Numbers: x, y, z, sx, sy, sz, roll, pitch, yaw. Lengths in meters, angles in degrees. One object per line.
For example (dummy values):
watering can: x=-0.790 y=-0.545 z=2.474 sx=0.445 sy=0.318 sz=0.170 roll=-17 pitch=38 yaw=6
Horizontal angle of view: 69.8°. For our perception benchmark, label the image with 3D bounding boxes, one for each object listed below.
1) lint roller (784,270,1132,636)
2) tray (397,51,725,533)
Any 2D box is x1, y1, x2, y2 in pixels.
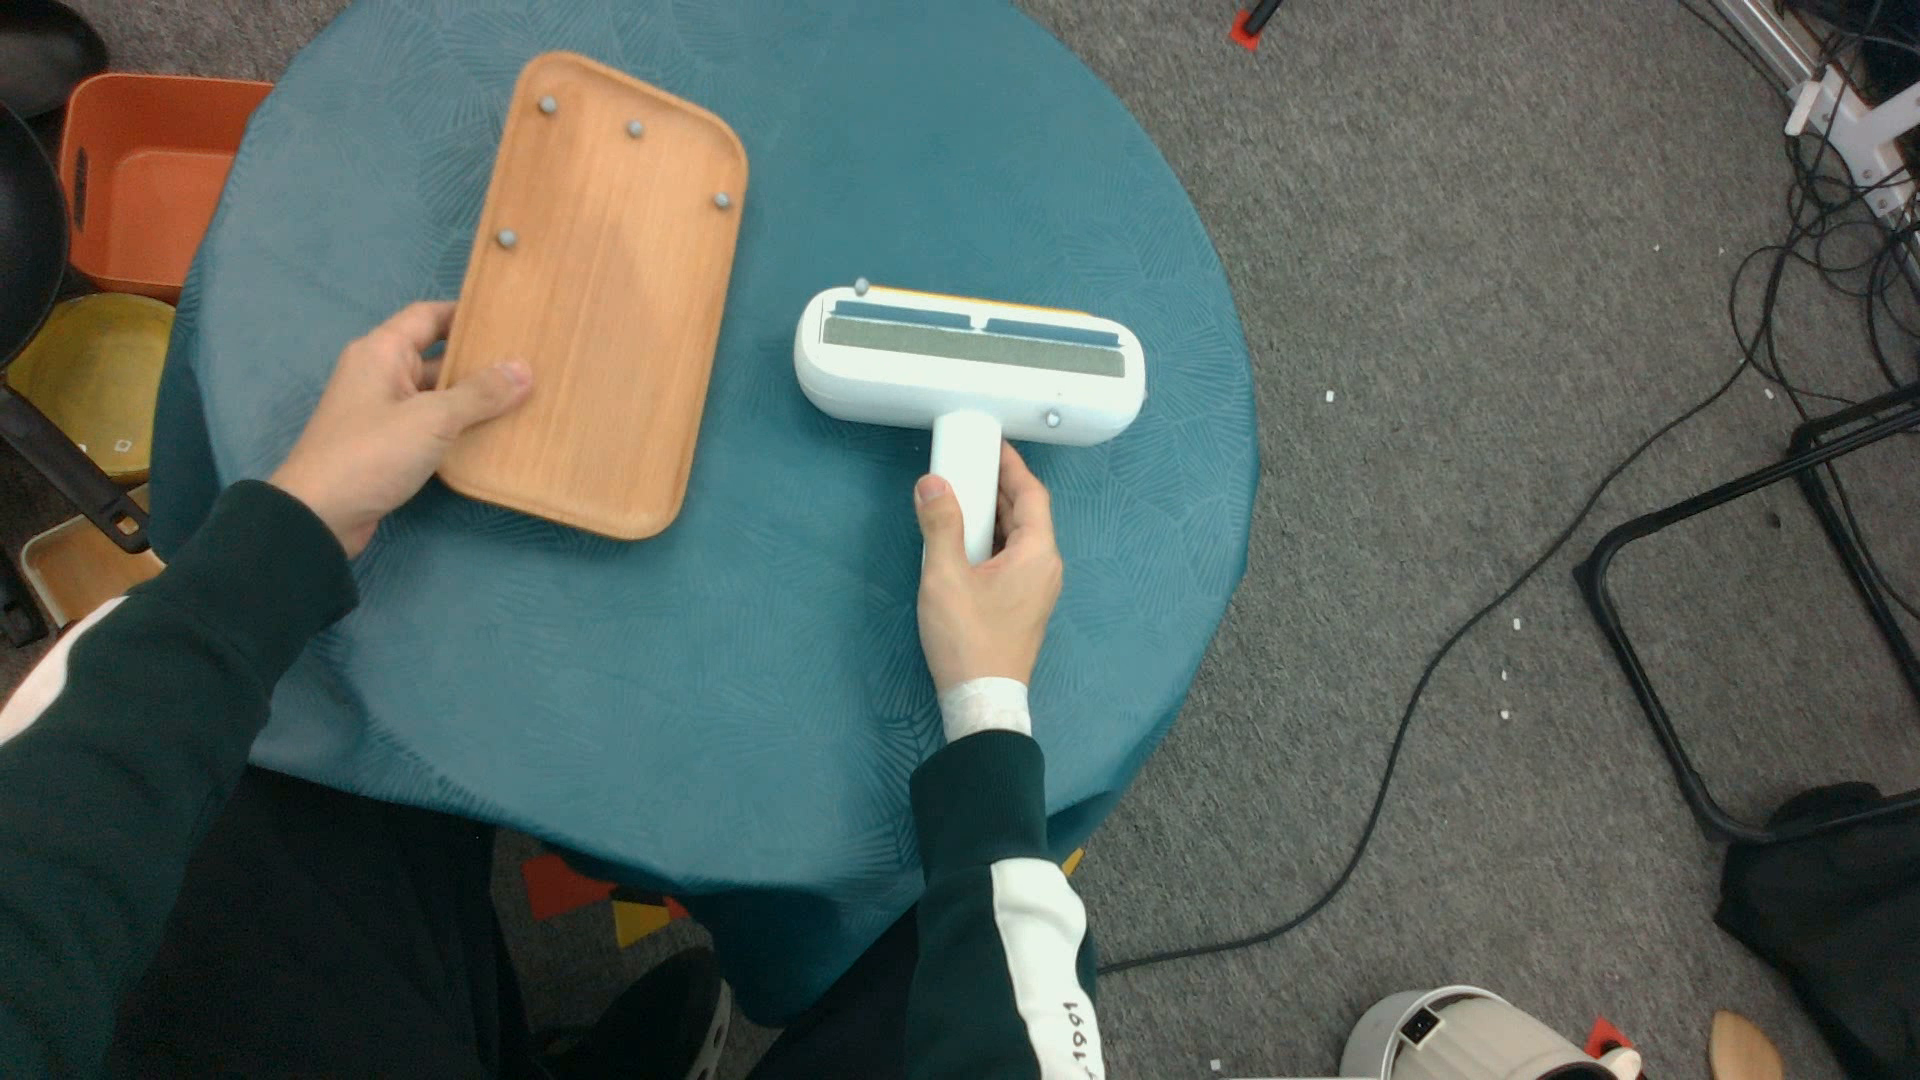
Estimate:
lint roller: x=-0.011 y=-0.043 z=0.761 sx=0.193 sy=0.074 sz=0.192 roll=11 pitch=81 yaw=-8
tray: x=-0.200 y=-0.130 z=0.712 sx=0.130 sy=0.023 sz=0.251 roll=17 pitch=68 yaw=-25
